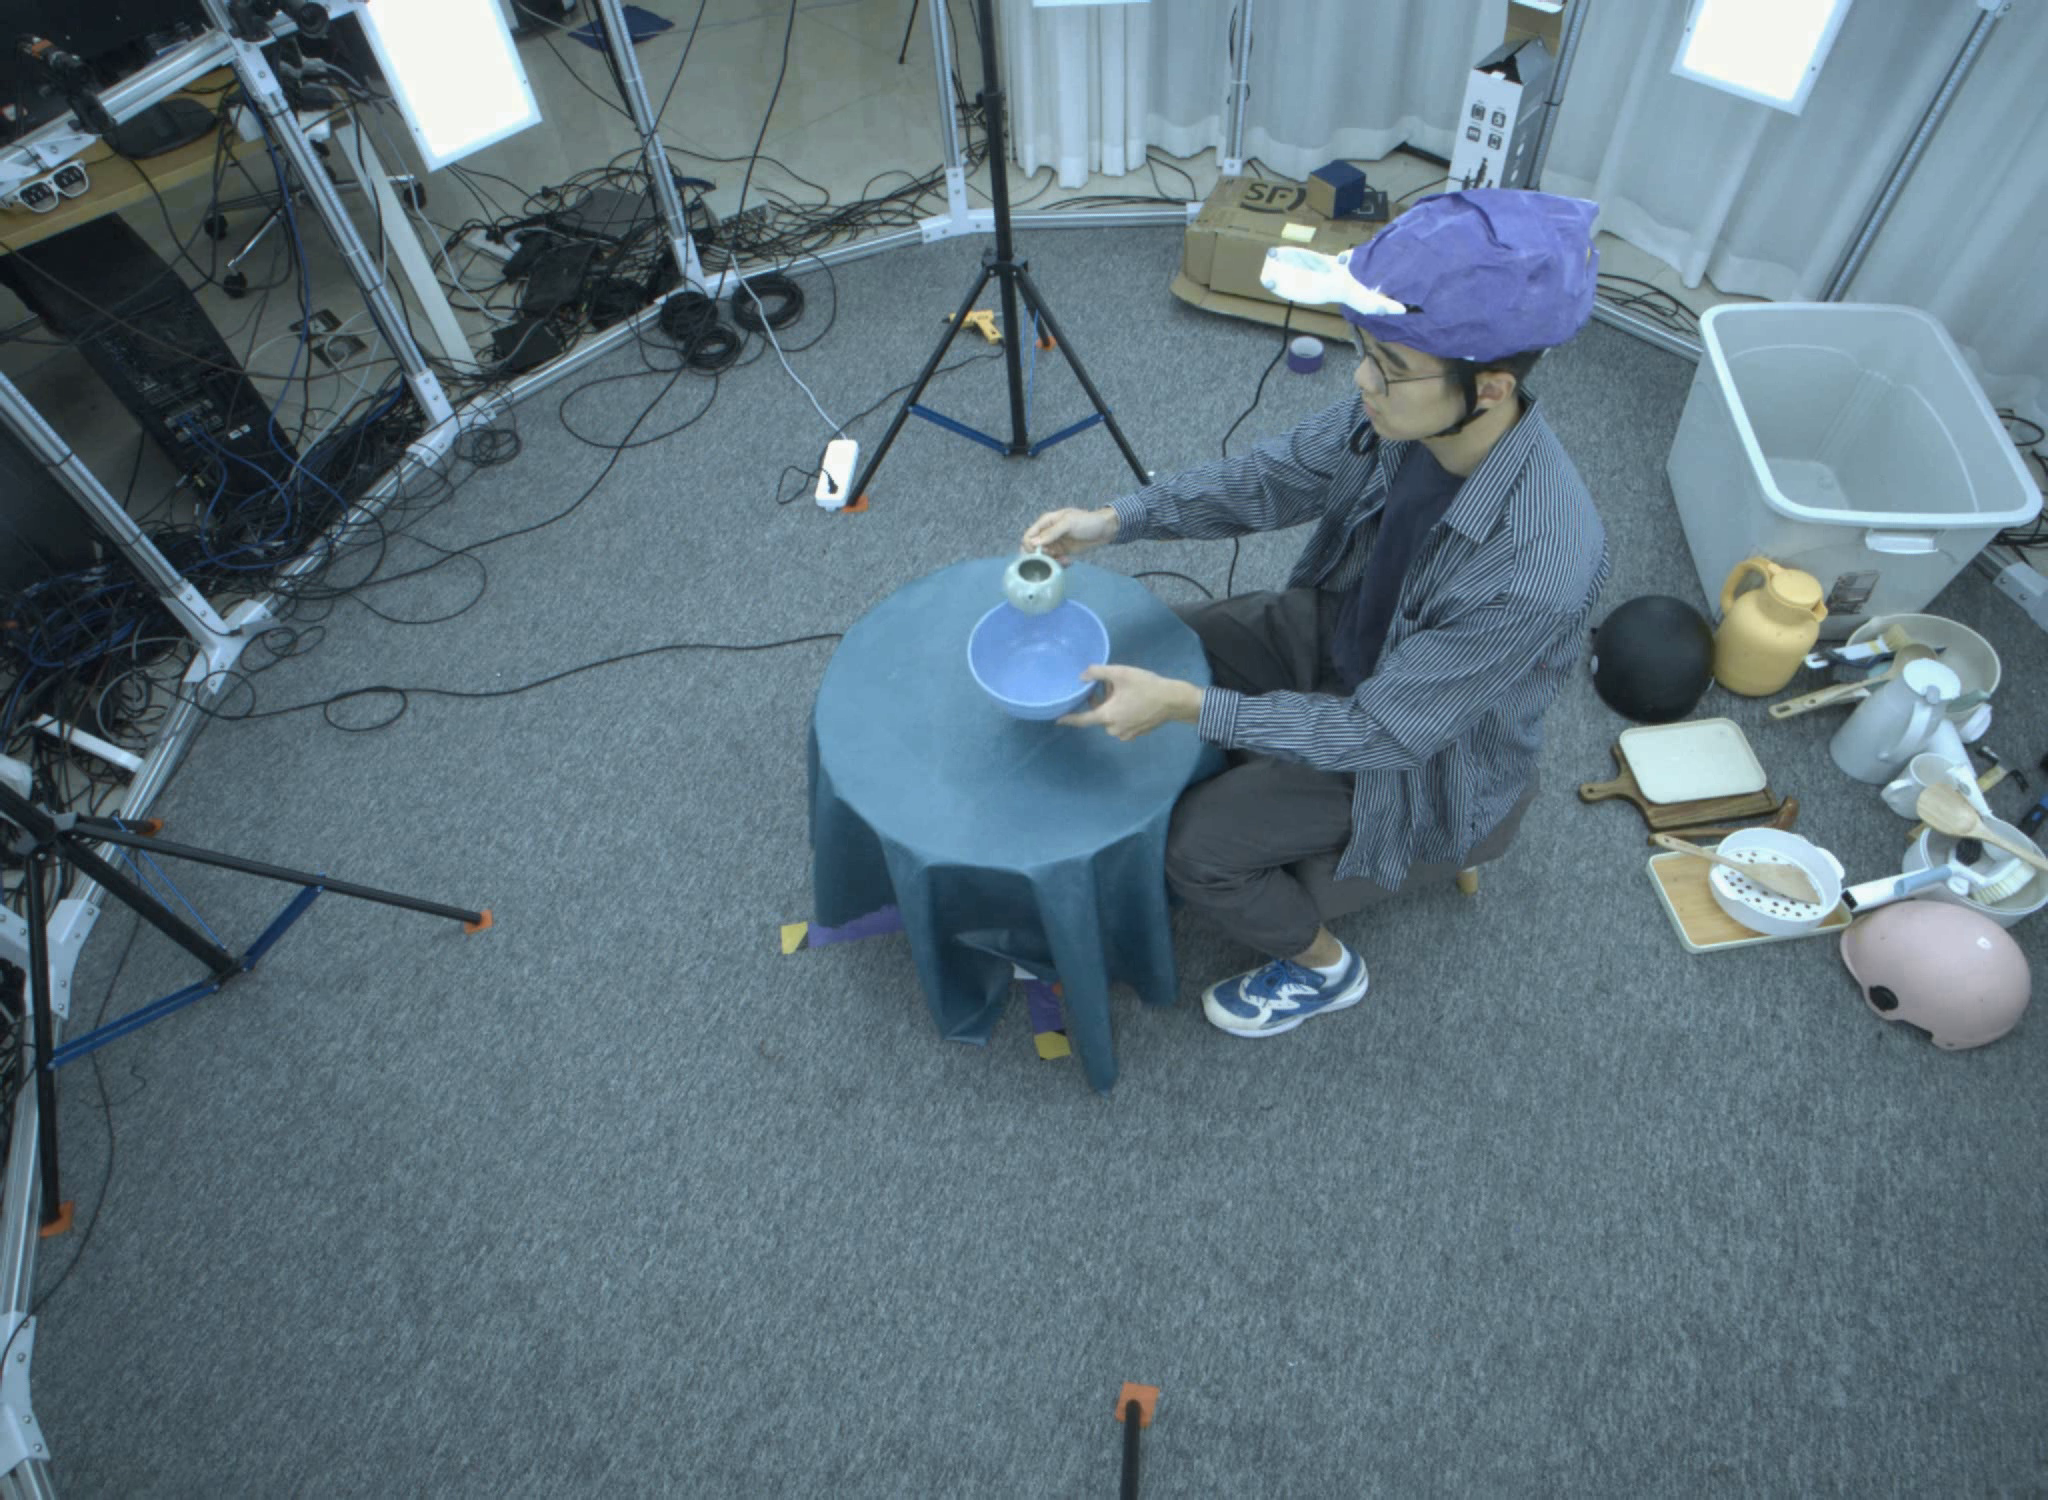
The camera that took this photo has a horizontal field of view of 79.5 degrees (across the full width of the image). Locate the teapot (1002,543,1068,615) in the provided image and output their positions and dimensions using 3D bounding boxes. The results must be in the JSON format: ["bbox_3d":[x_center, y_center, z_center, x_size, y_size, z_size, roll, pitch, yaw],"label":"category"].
[{"bbox_3d":[0.017,-0.238,1.723,0.091,0.061,0.128,8,52,7],"label":"teapot"}]

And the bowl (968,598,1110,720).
[{"bbox_3d":[0.023,-0.116,1.738,0.196,0.096,0.194,-1,57,2],"label":"bowl"}]
